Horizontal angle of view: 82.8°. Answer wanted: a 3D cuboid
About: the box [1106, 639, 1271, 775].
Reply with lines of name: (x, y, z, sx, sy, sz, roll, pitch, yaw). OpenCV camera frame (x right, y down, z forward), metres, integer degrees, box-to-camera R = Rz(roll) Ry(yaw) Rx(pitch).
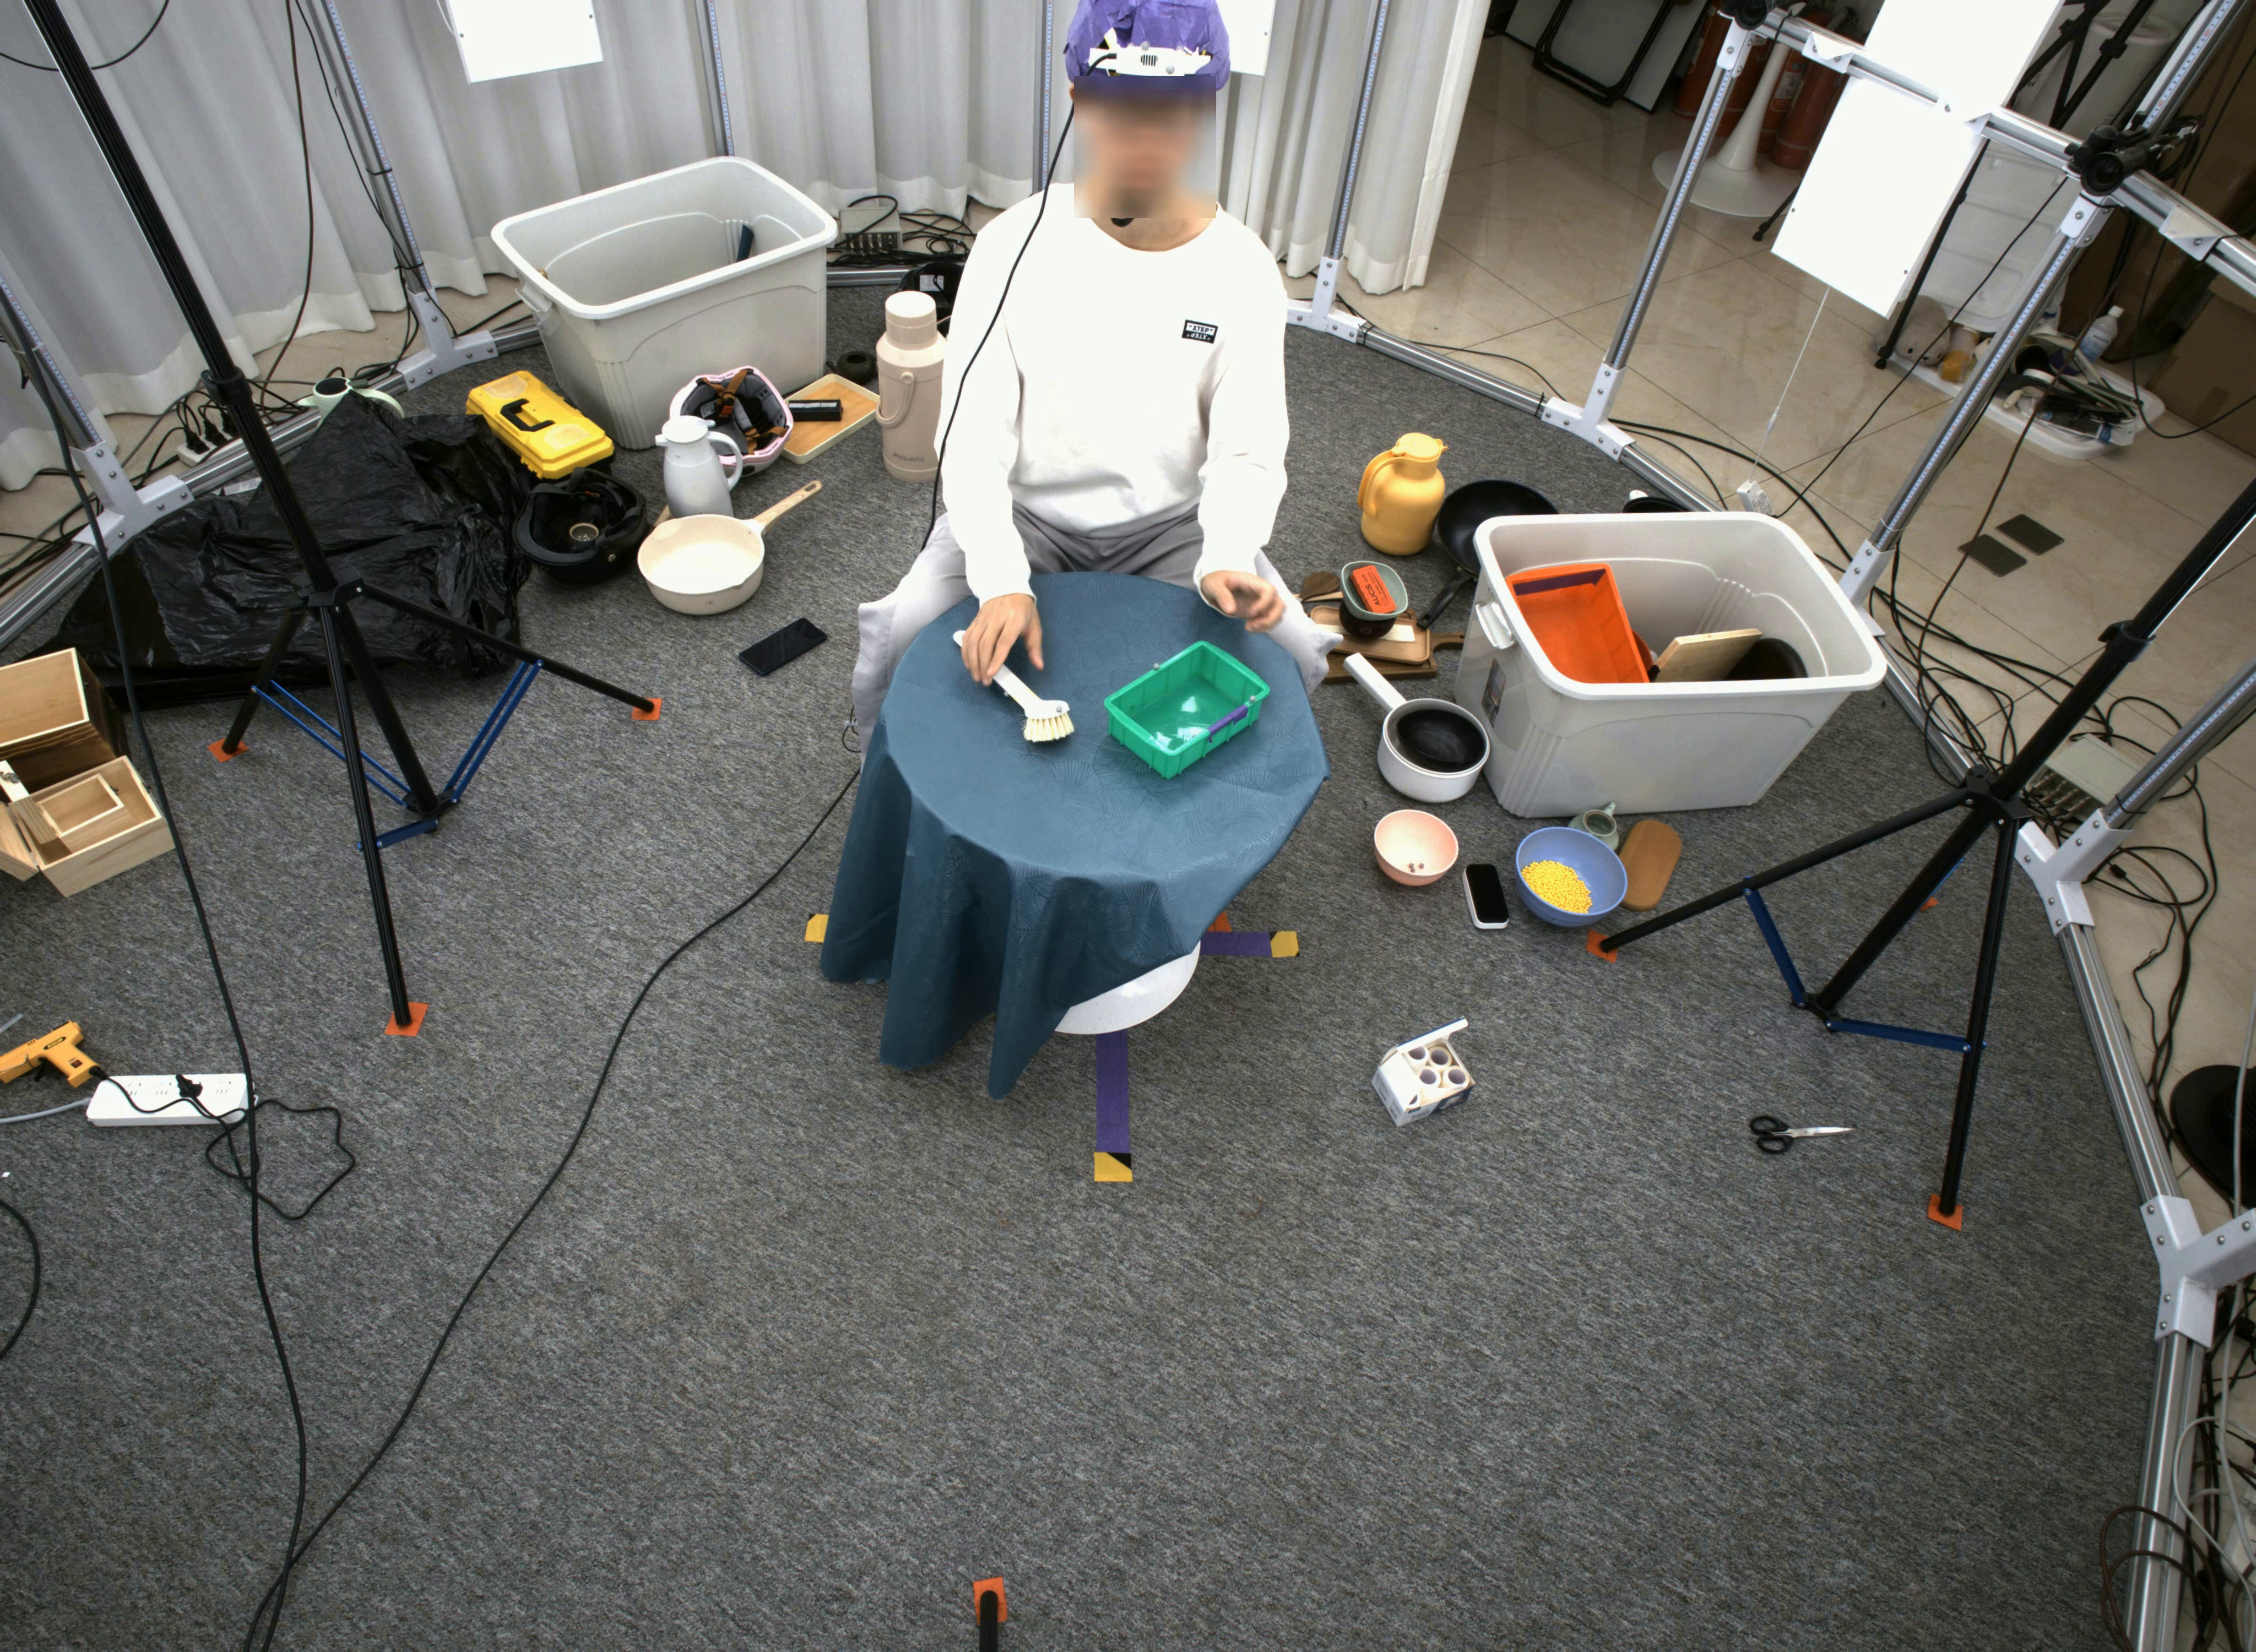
box: (0.081, -0.164, 1.772, 0.212, 0.064, 0.141, -34, 59, -31)

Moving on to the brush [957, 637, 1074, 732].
brush: (-0.165, -0.196, 1.814, 0.068, 0.055, 0.271, -8, 31, -39)
